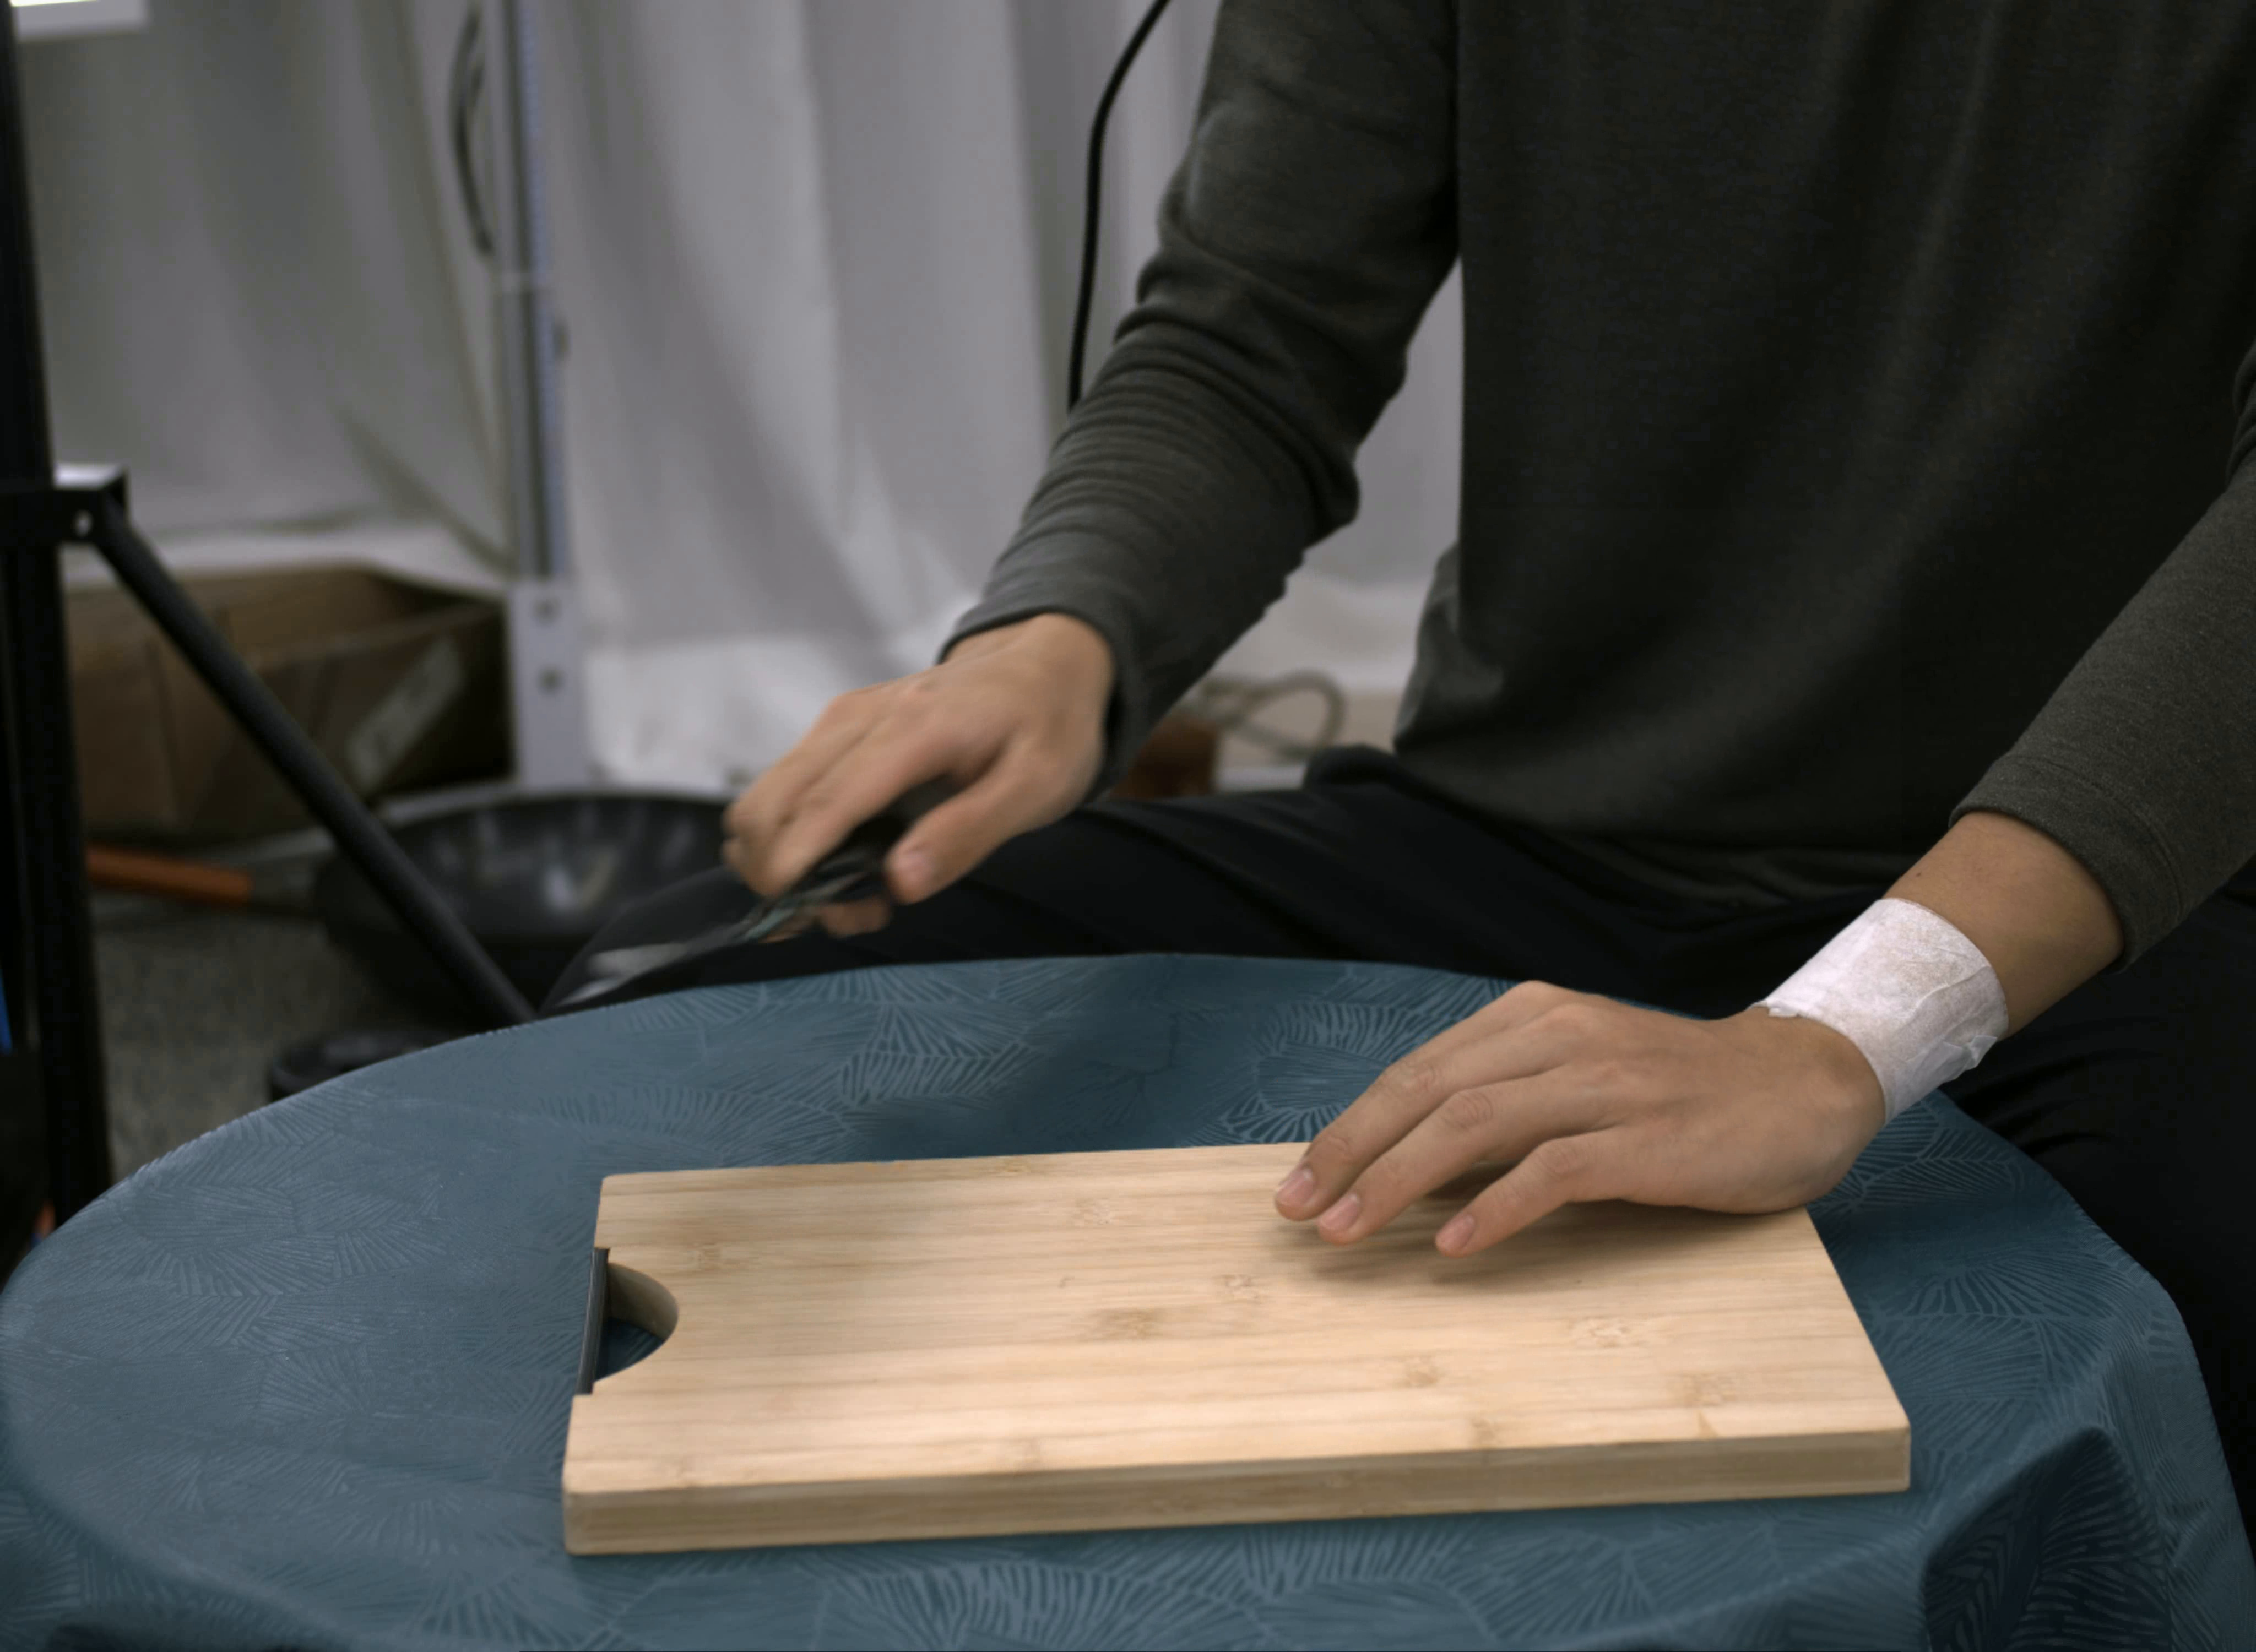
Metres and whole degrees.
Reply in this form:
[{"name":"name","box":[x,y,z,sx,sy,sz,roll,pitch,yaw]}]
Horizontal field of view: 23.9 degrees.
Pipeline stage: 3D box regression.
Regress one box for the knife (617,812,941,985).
[{"name":"knife","box":[-0.095,0.021,1.530,0.081,0.021,0.300,-19,3,9]}]

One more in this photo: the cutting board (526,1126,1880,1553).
[{"name":"cutting board","box":[0.017,0.136,1.434,0.346,0.023,0.252,-3,15,-1]}]
